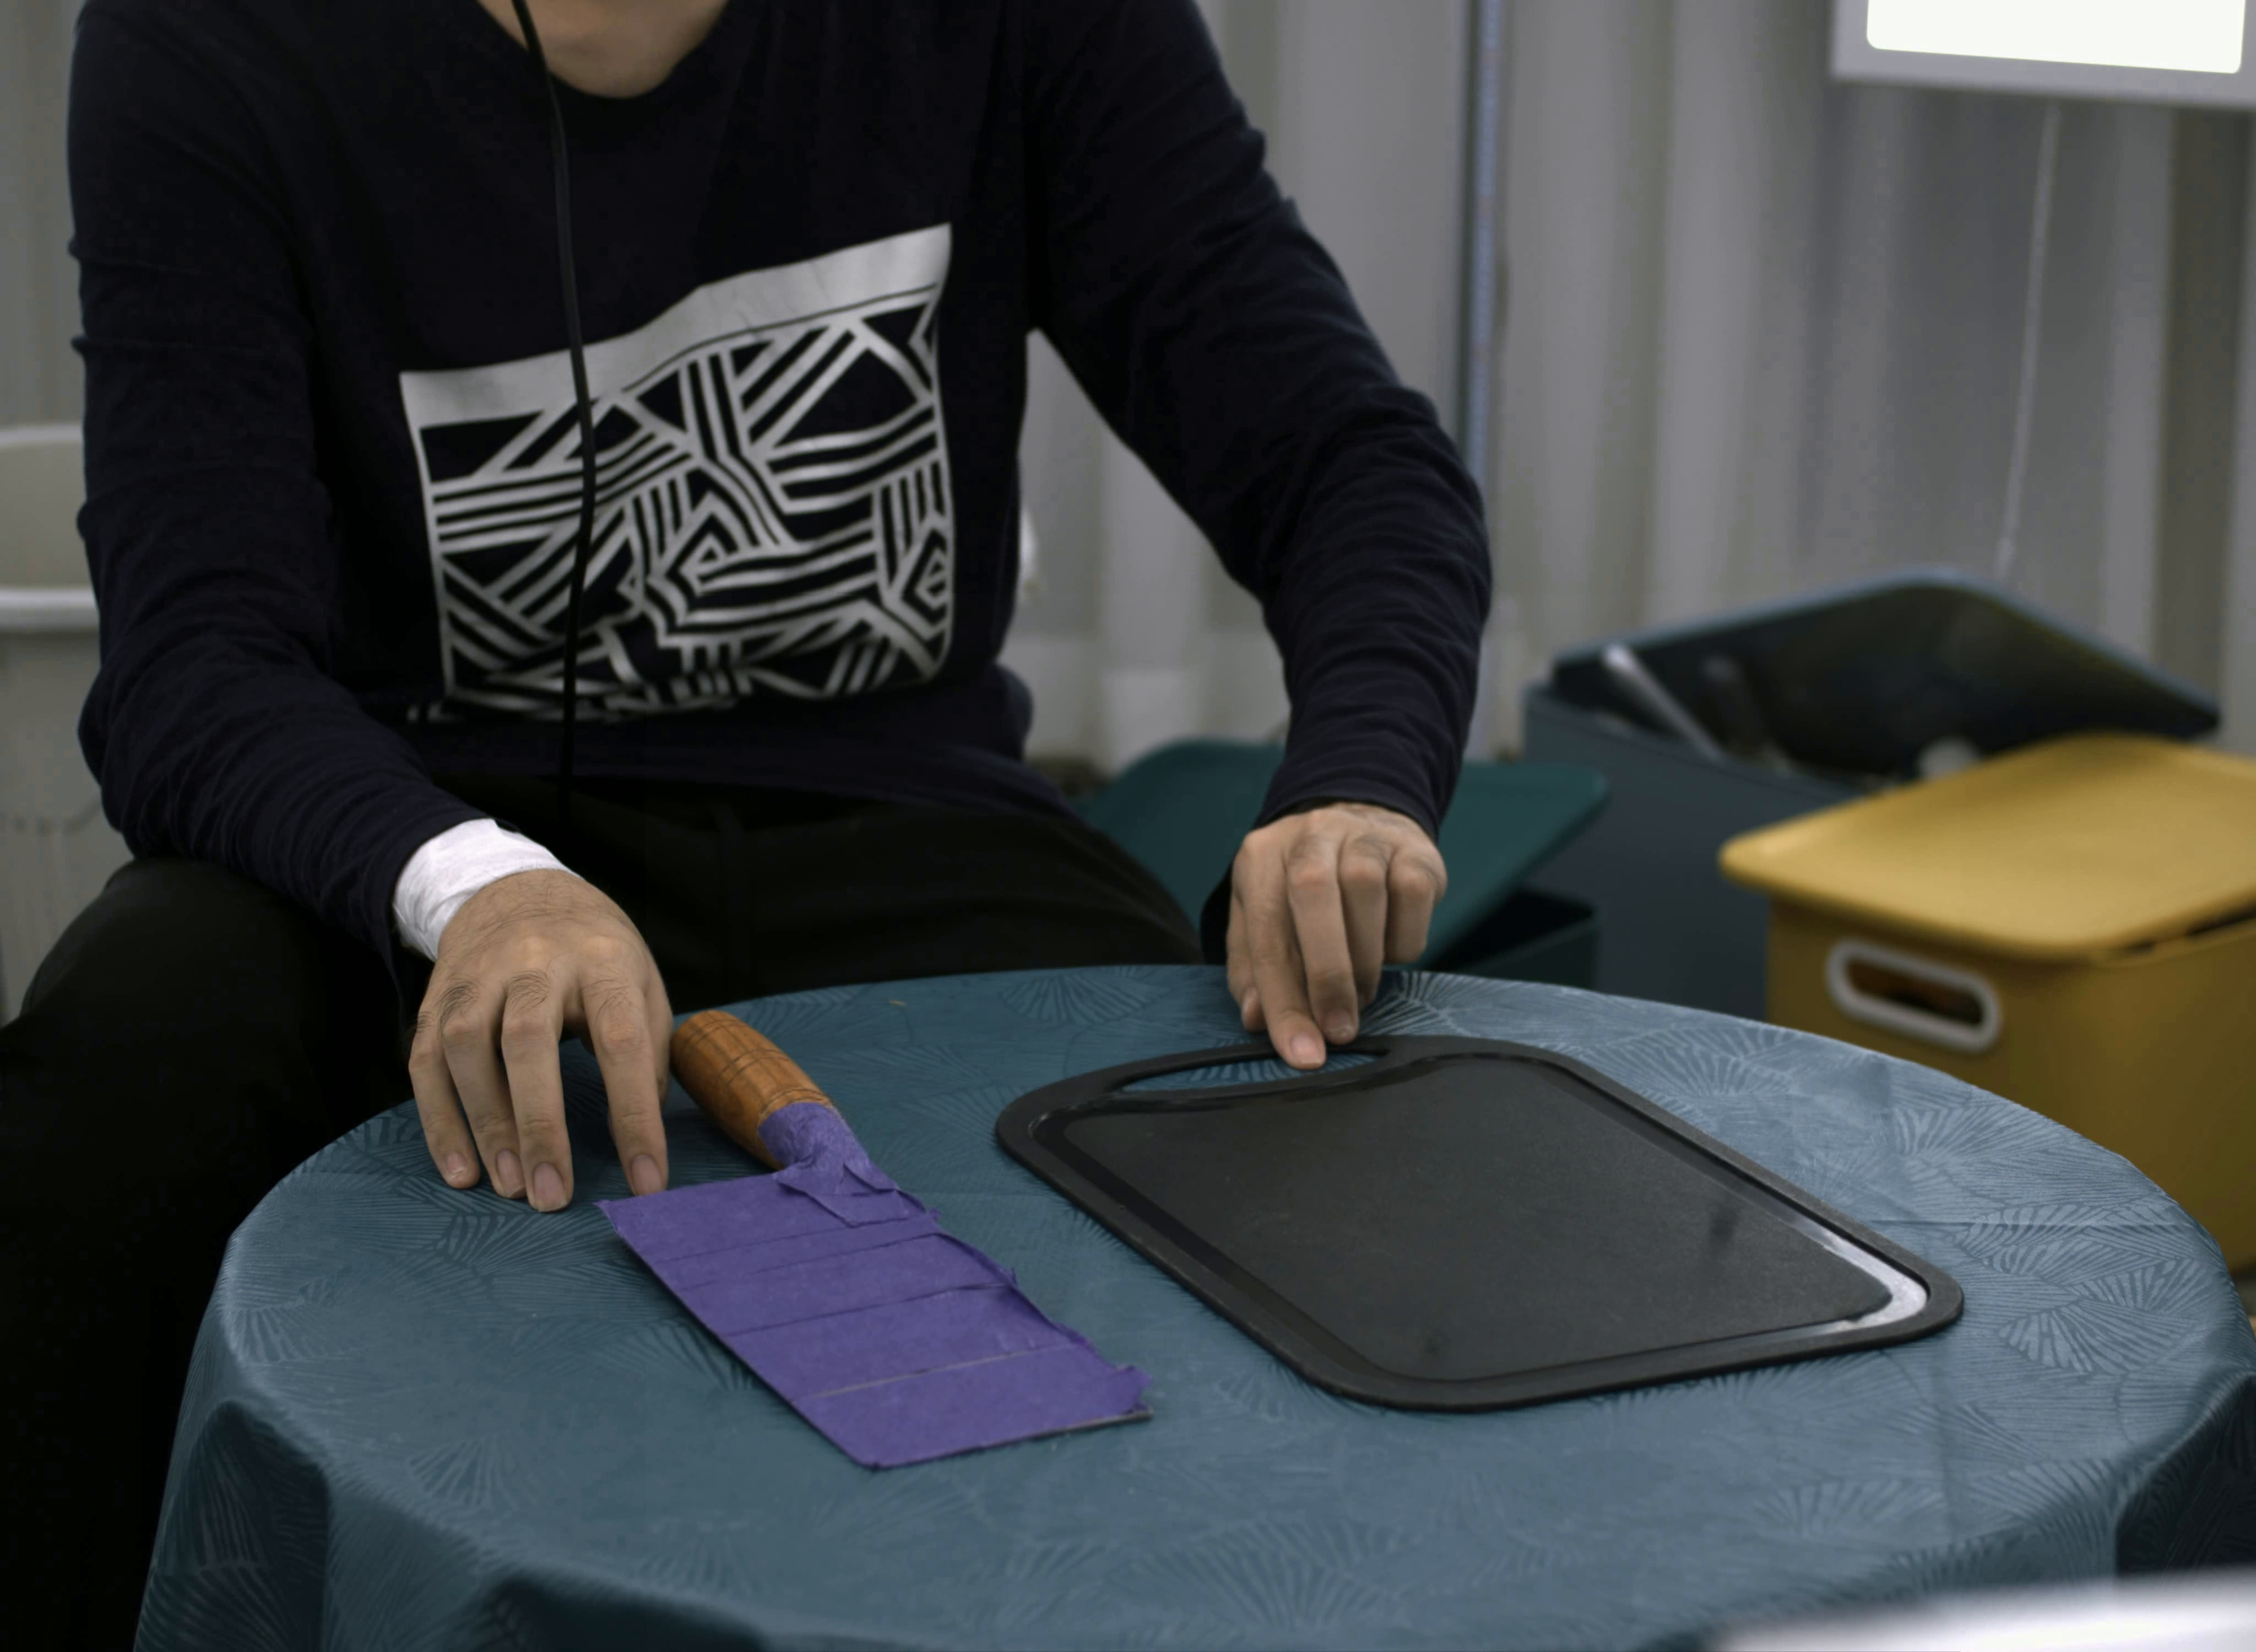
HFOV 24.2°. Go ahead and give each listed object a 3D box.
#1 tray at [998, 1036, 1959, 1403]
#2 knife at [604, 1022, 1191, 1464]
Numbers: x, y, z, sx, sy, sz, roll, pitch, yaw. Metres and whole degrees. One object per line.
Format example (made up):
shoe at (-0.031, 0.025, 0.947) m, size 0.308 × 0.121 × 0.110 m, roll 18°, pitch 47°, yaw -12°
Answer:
tray at (0.096, 0.113, 1.614) m, size 0.212 × 0.010 × 0.321 m, roll -6°, pitch 17°, yaw -23°
knife at (-0.097, 0.118, 1.550) m, size 0.104 × 0.032 × 0.311 m, roll -7°, pitch 17°, yaw -26°
